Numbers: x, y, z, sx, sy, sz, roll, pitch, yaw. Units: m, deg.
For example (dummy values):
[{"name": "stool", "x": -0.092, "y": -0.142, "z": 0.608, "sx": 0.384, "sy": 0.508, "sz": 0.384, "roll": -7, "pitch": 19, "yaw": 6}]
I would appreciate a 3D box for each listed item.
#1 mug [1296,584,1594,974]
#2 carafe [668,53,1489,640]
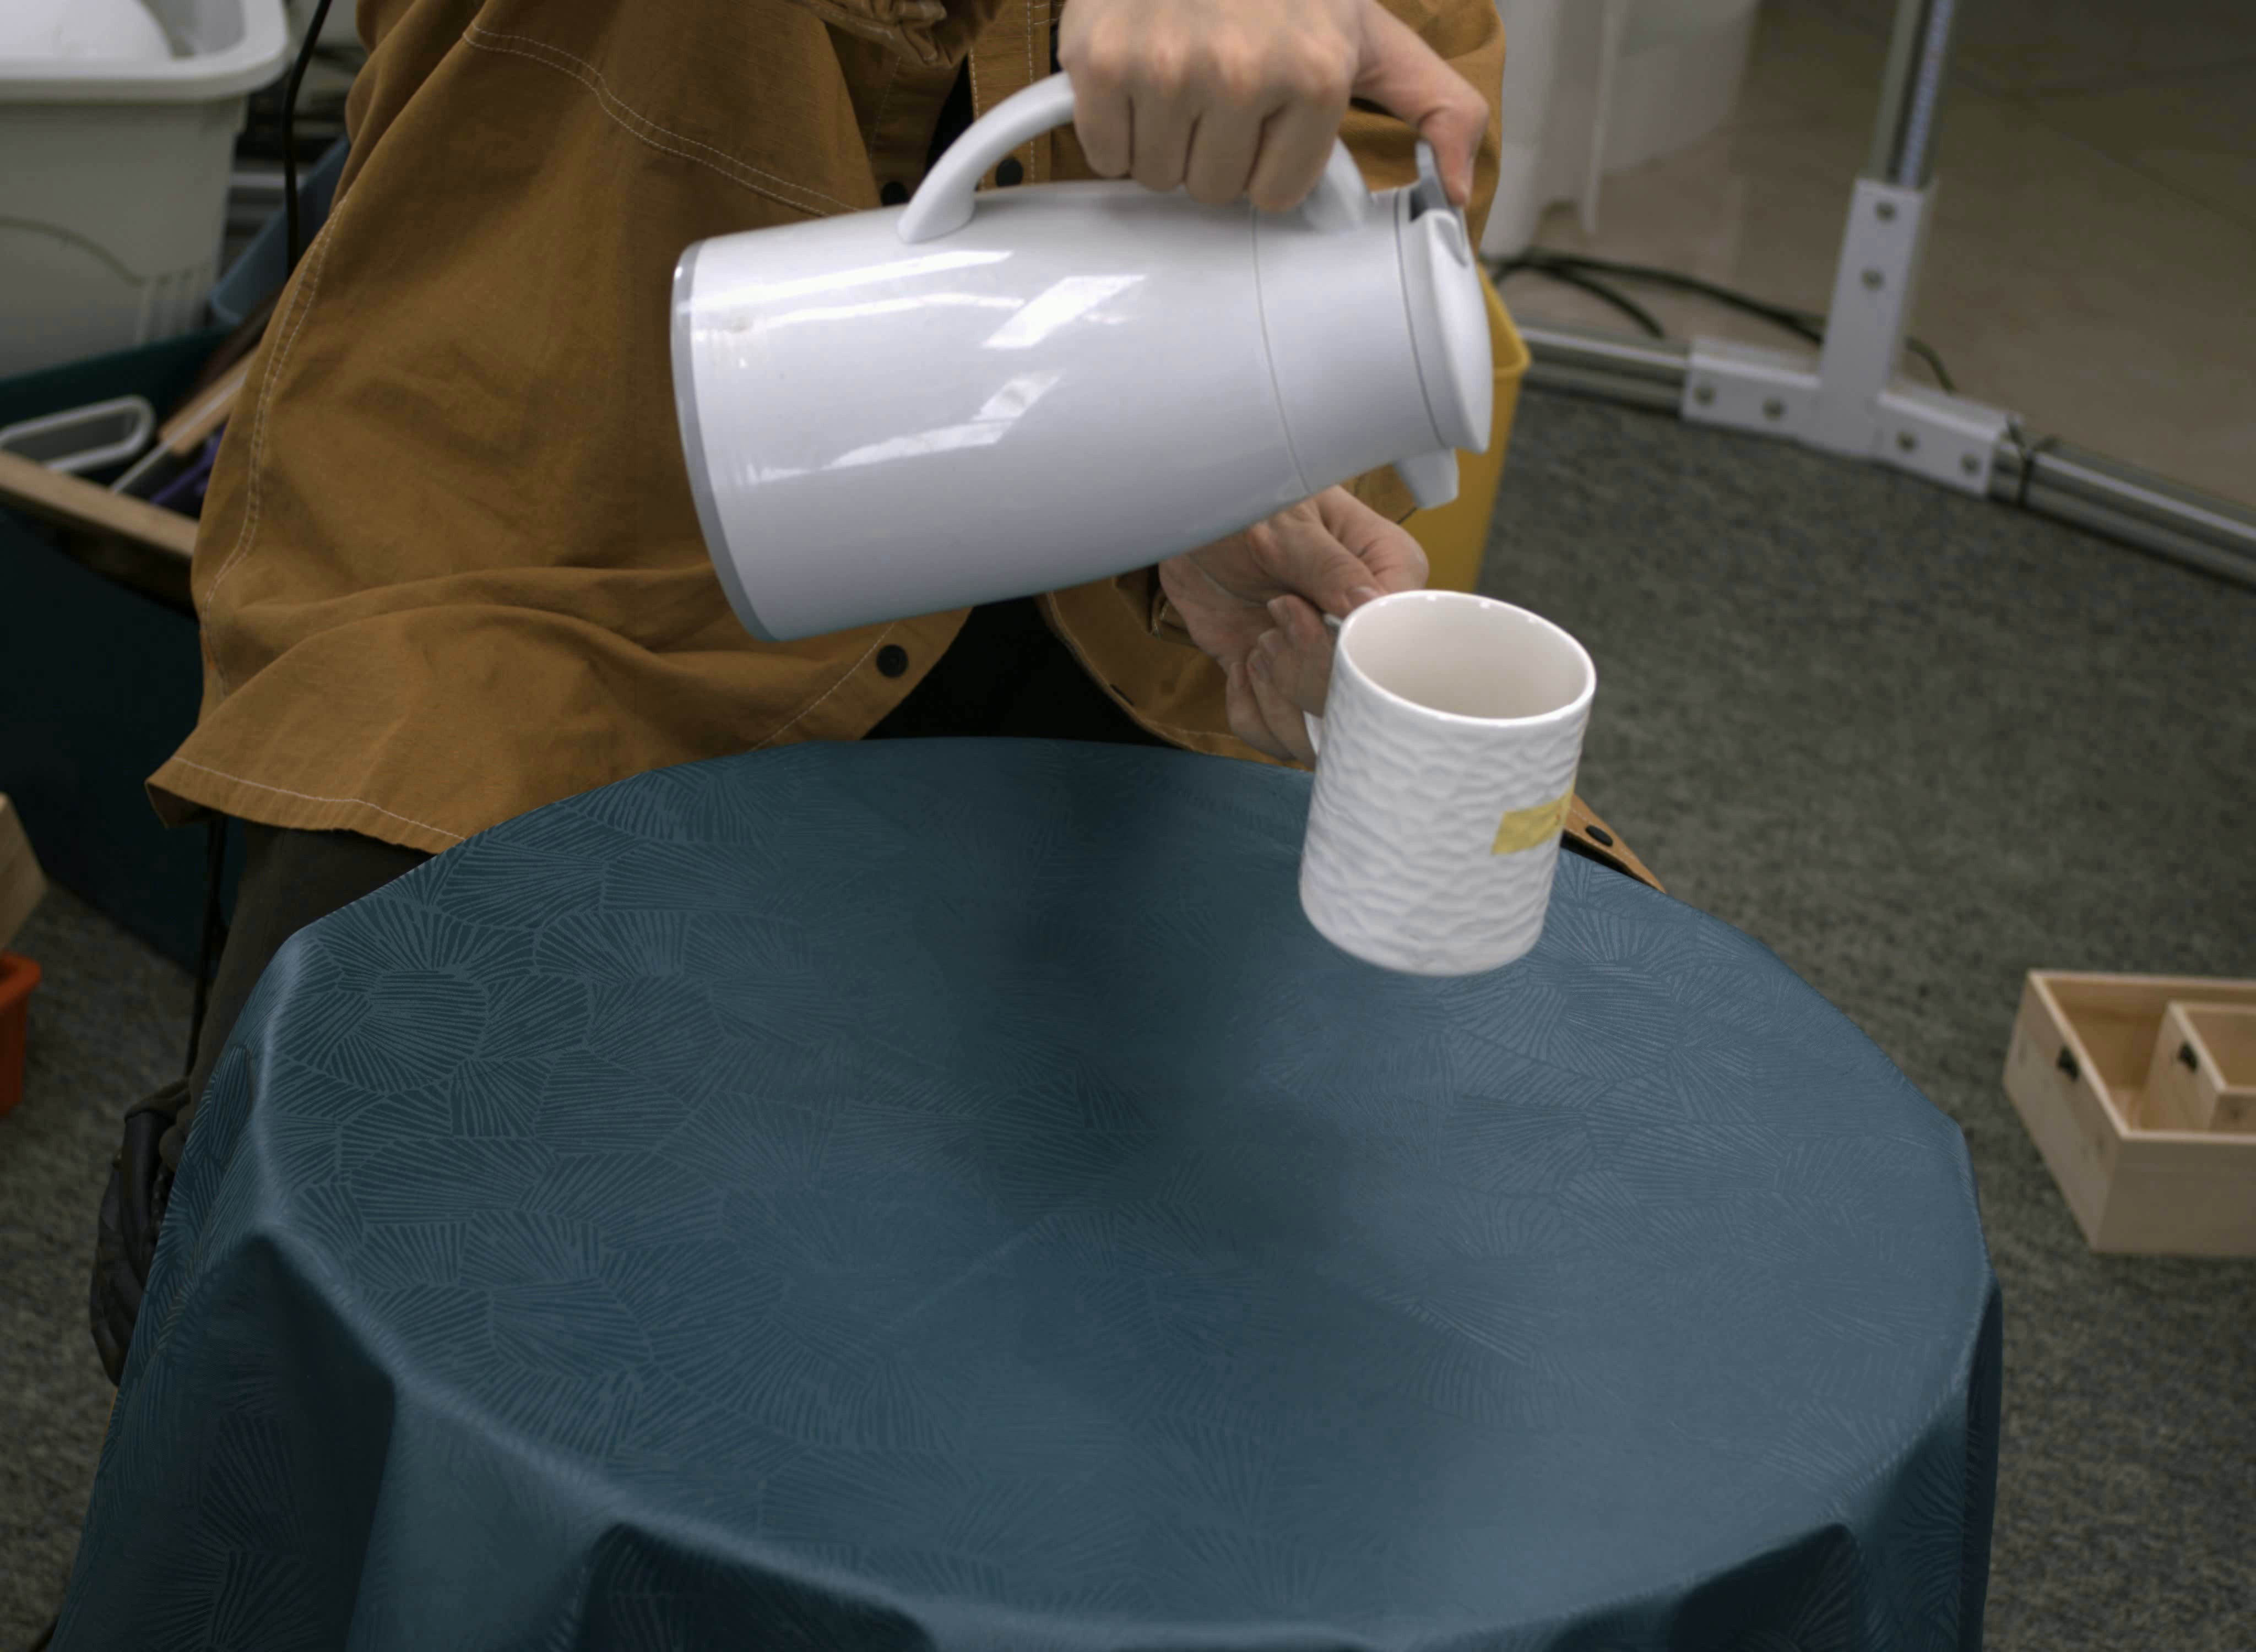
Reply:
[{"name": "mug", "x": 0.094, "y": -0.022, "z": 1.759, "sx": 0.084, "sy": 0.101, "sz": 0.119, "roll": -13, "pitch": 38, "yaw": -30}, {"name": "carafe", "x": -0.014, "y": -0.159, "z": 1.685, "sx": 0.248, "sy": 0.167, "sz": 0.133, "roll": -9, "pitch": 32, "yaw": 11}]
